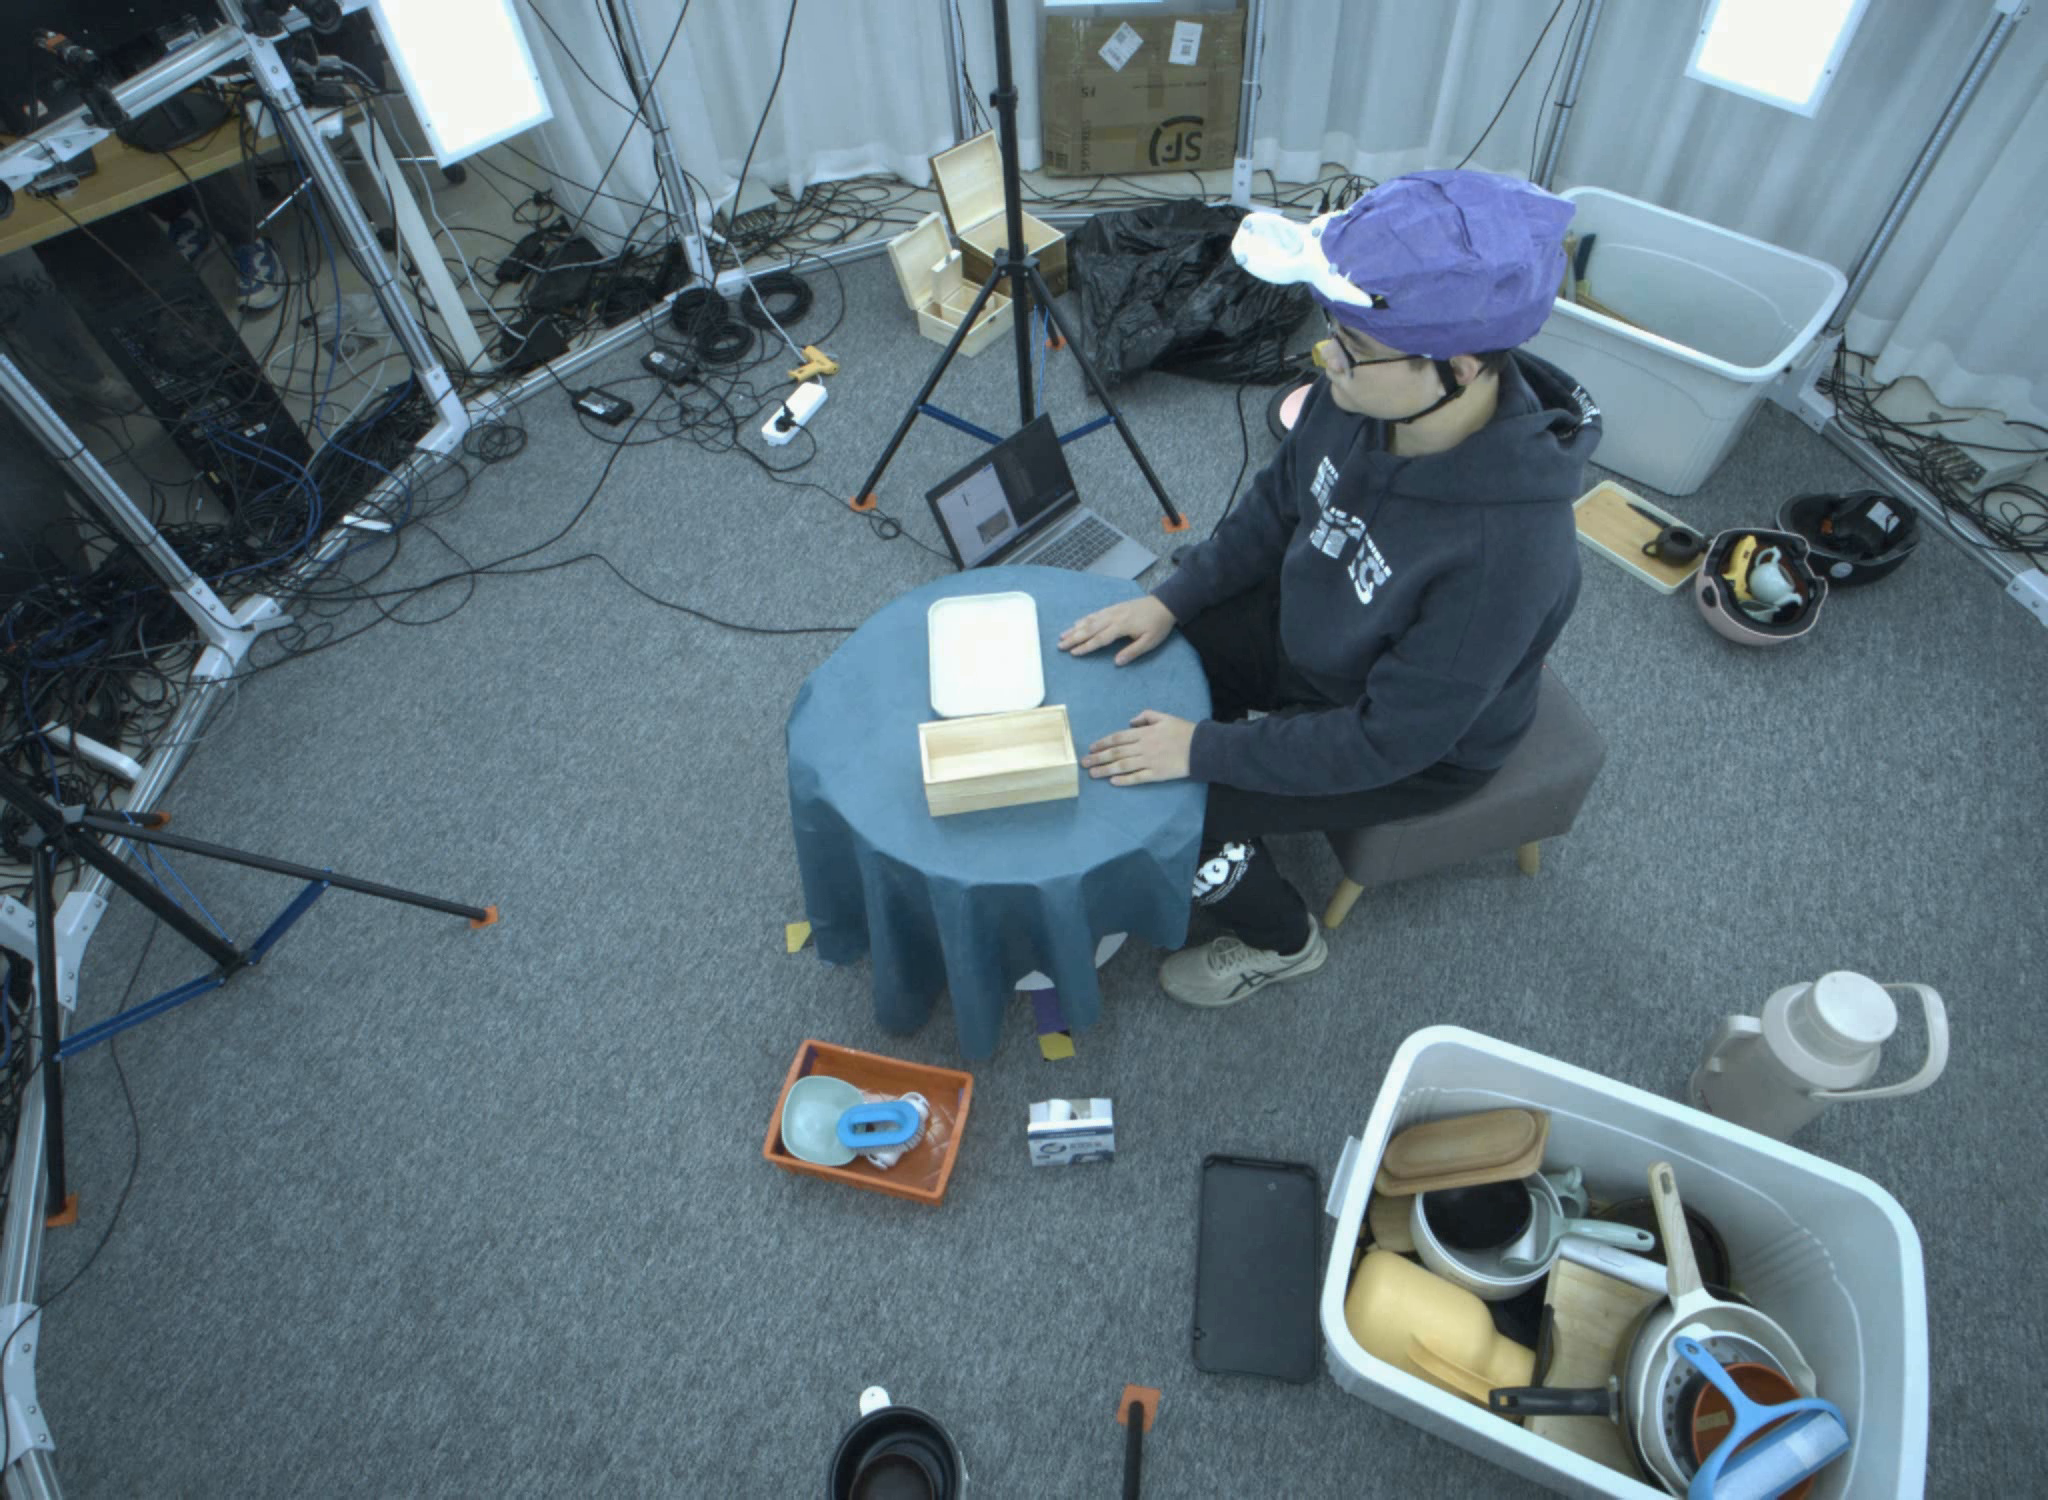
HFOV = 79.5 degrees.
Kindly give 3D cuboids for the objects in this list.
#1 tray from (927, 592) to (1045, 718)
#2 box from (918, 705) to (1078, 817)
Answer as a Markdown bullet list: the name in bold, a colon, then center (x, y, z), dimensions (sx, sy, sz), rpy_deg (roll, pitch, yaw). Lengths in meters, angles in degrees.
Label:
- **tray**: center (-0.060, -0.146, 1.882), dimensions (0.171, 0.017, 0.236), rpy_deg (-4, 55, -2)
- **box**: center (-0.036, 0.015, 1.729), dimensions (0.212, 0.081, 0.106), rpy_deg (-8, 55, -4)
